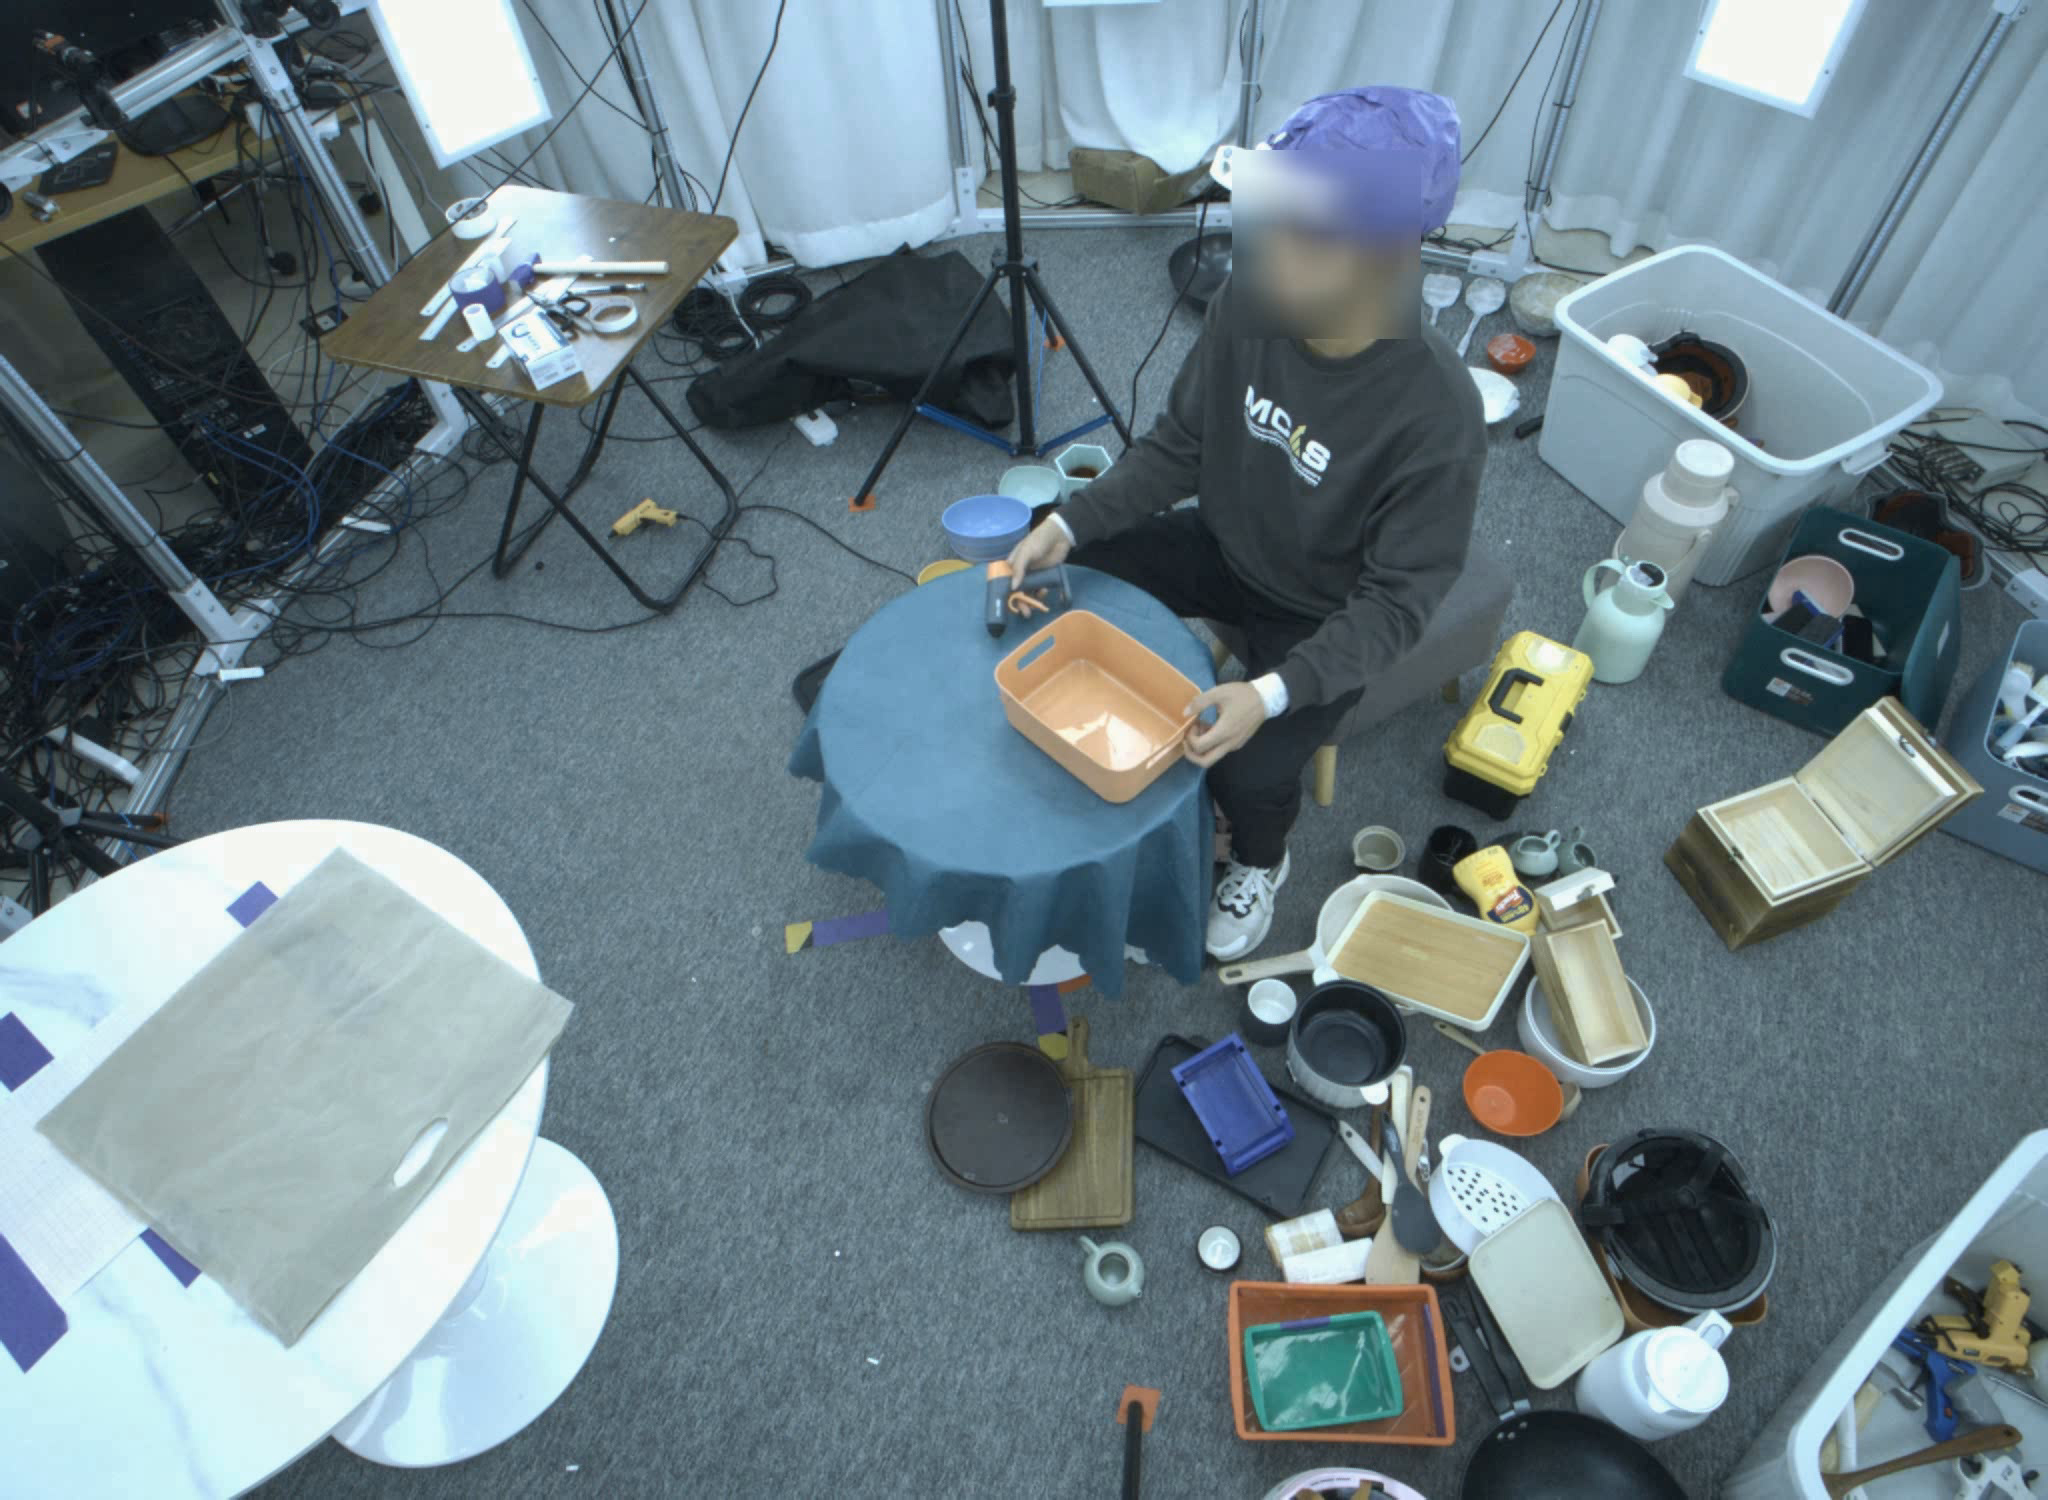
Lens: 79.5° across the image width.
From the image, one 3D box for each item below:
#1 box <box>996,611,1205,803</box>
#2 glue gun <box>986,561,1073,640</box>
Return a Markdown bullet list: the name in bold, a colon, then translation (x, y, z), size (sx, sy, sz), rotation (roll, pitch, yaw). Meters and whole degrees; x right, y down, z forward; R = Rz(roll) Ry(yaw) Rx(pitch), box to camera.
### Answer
- **box**: translation (0.109, -0.060, 1.761), size (0.201, 0.104, 0.268), rotation (-40, 61, -23)
- **glue gun**: translation (0.001, -0.238, 1.904), size (0.141, 0.040, 0.117), rotation (-12, 87, -14)
